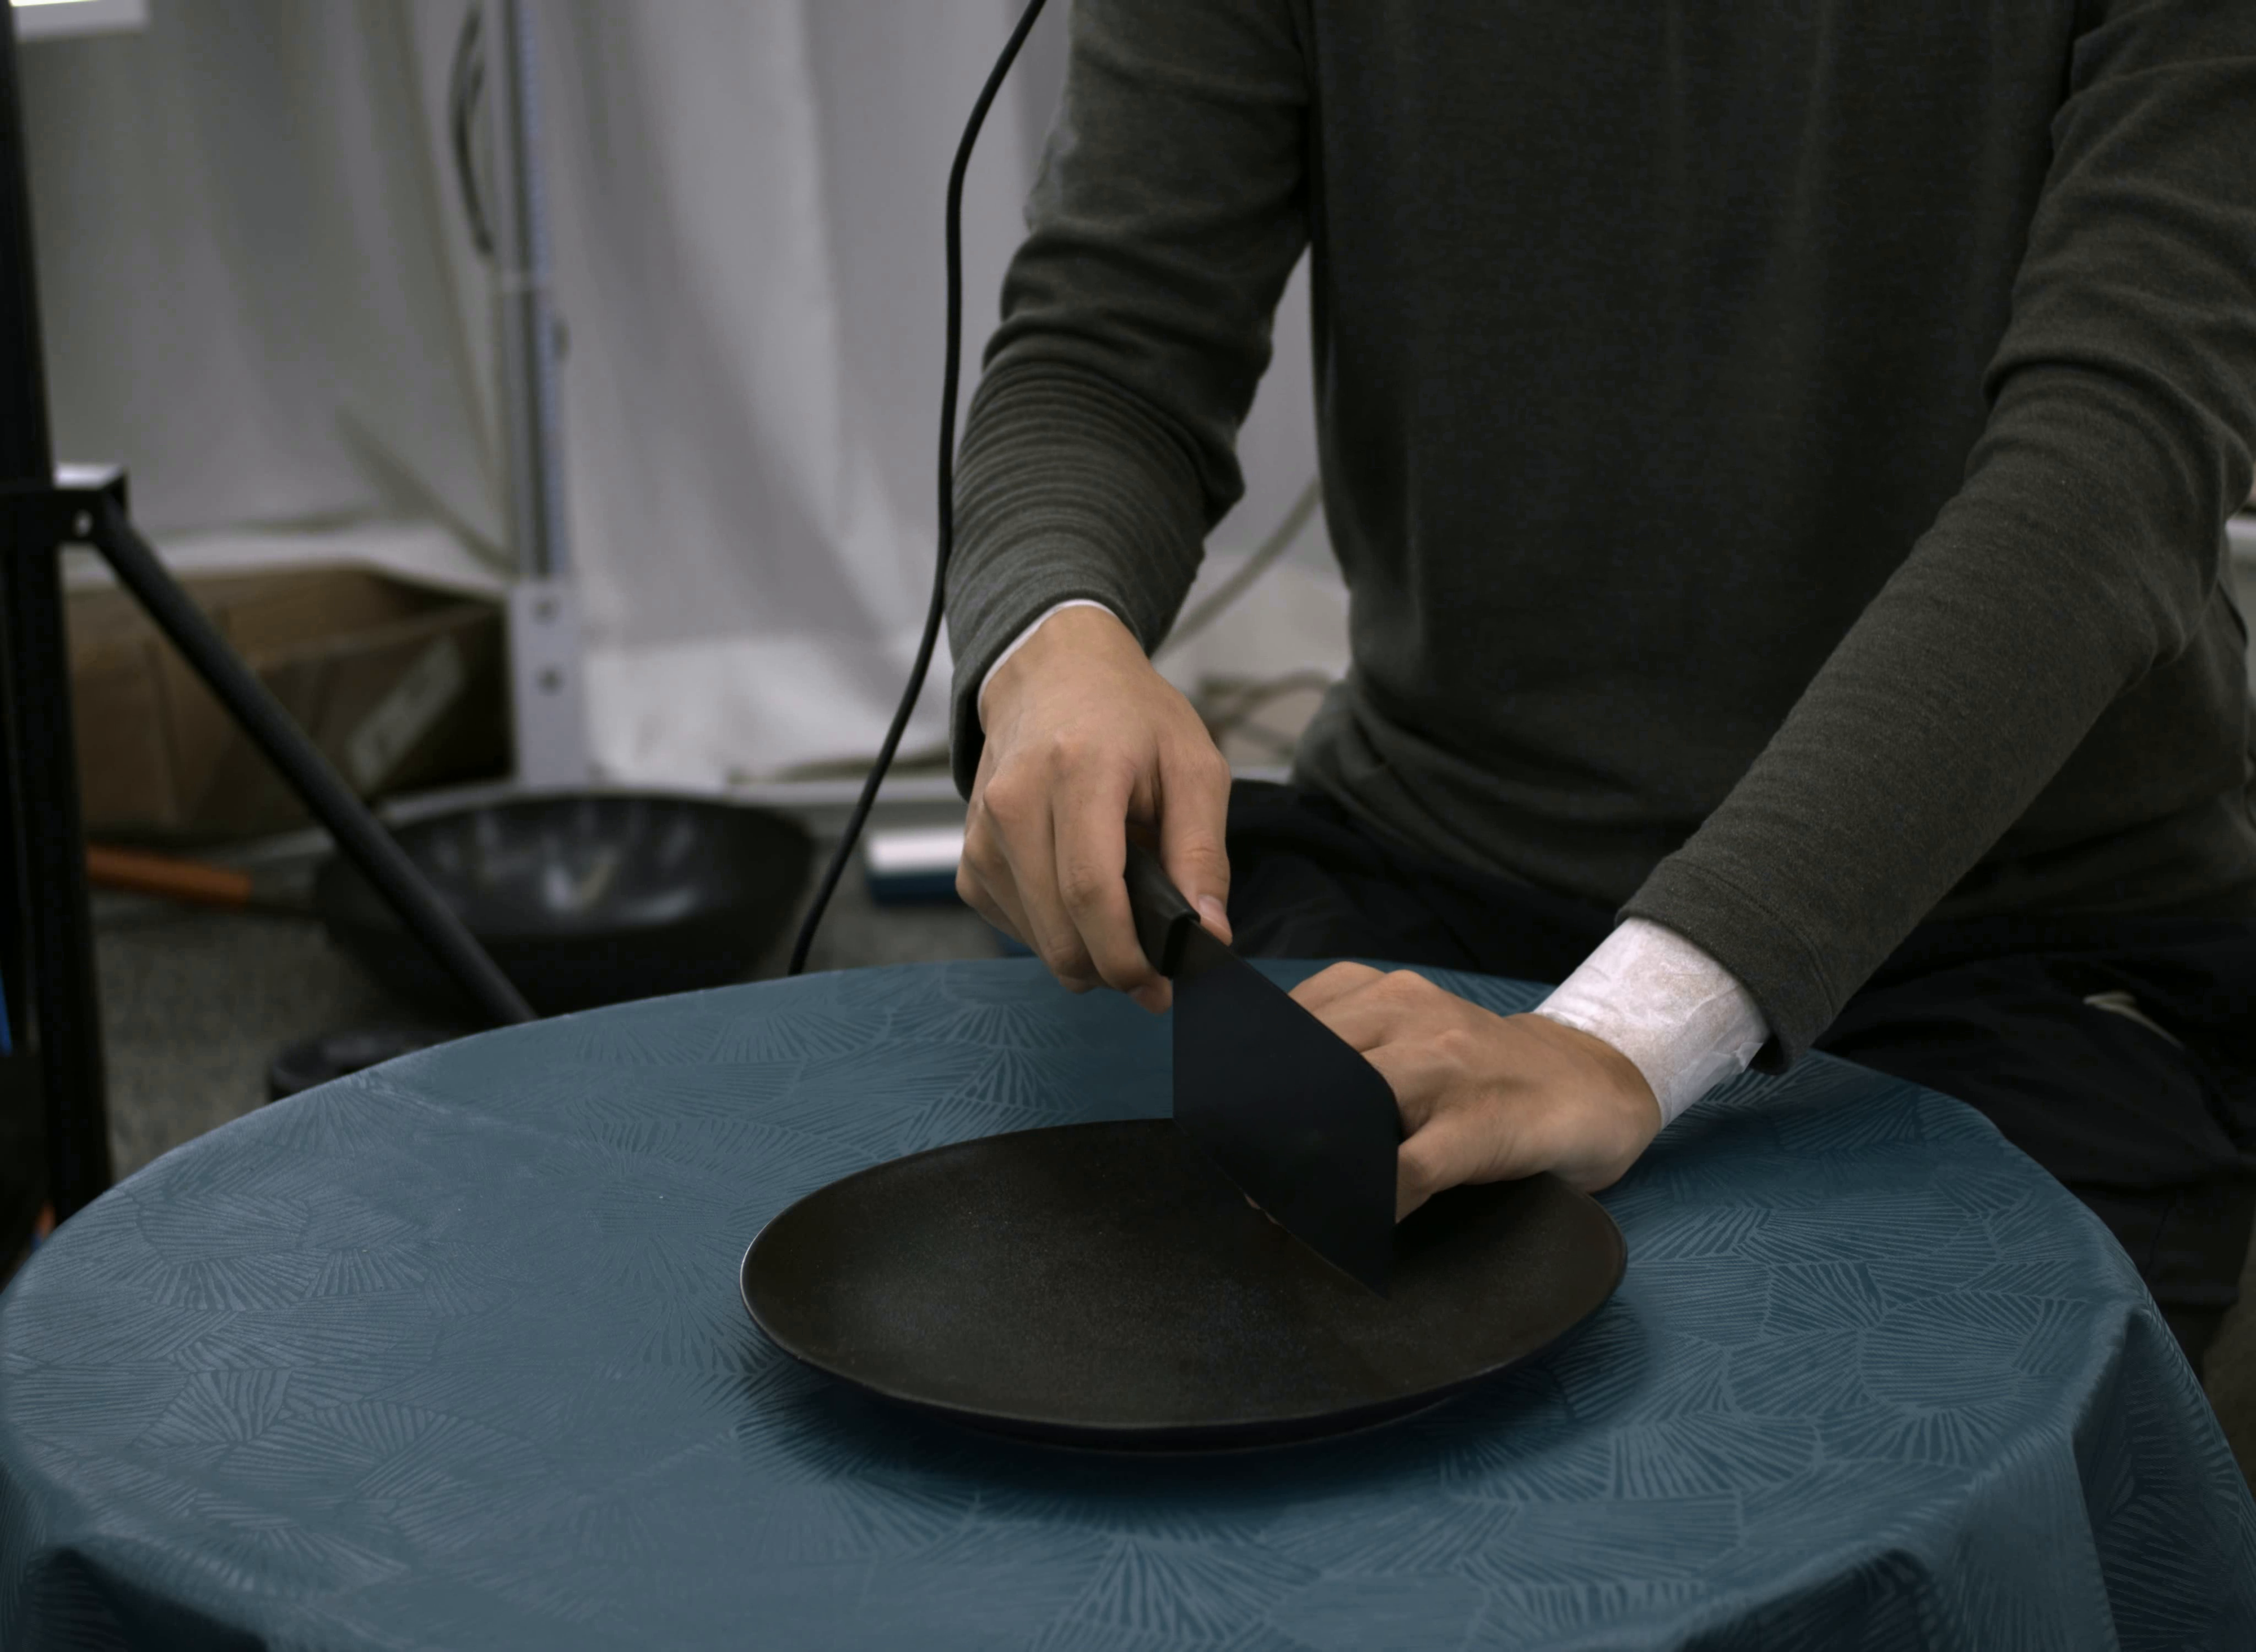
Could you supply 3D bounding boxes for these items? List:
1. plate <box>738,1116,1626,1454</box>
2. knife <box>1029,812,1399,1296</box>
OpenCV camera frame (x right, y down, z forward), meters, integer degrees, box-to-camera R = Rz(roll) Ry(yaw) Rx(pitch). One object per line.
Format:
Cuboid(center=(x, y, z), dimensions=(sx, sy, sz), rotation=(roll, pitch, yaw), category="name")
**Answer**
Cuboid(center=(0.015, 0.128, 1.449), dimensions=(0.243, 0.023, 0.245), rotation=(-2, 16, -1), category="plate")
Cuboid(center=(0.023, 0.057, 1.511), dimensions=(0.020, 0.081, 0.307), rotation=(-3, 19, -18), category="knife")
